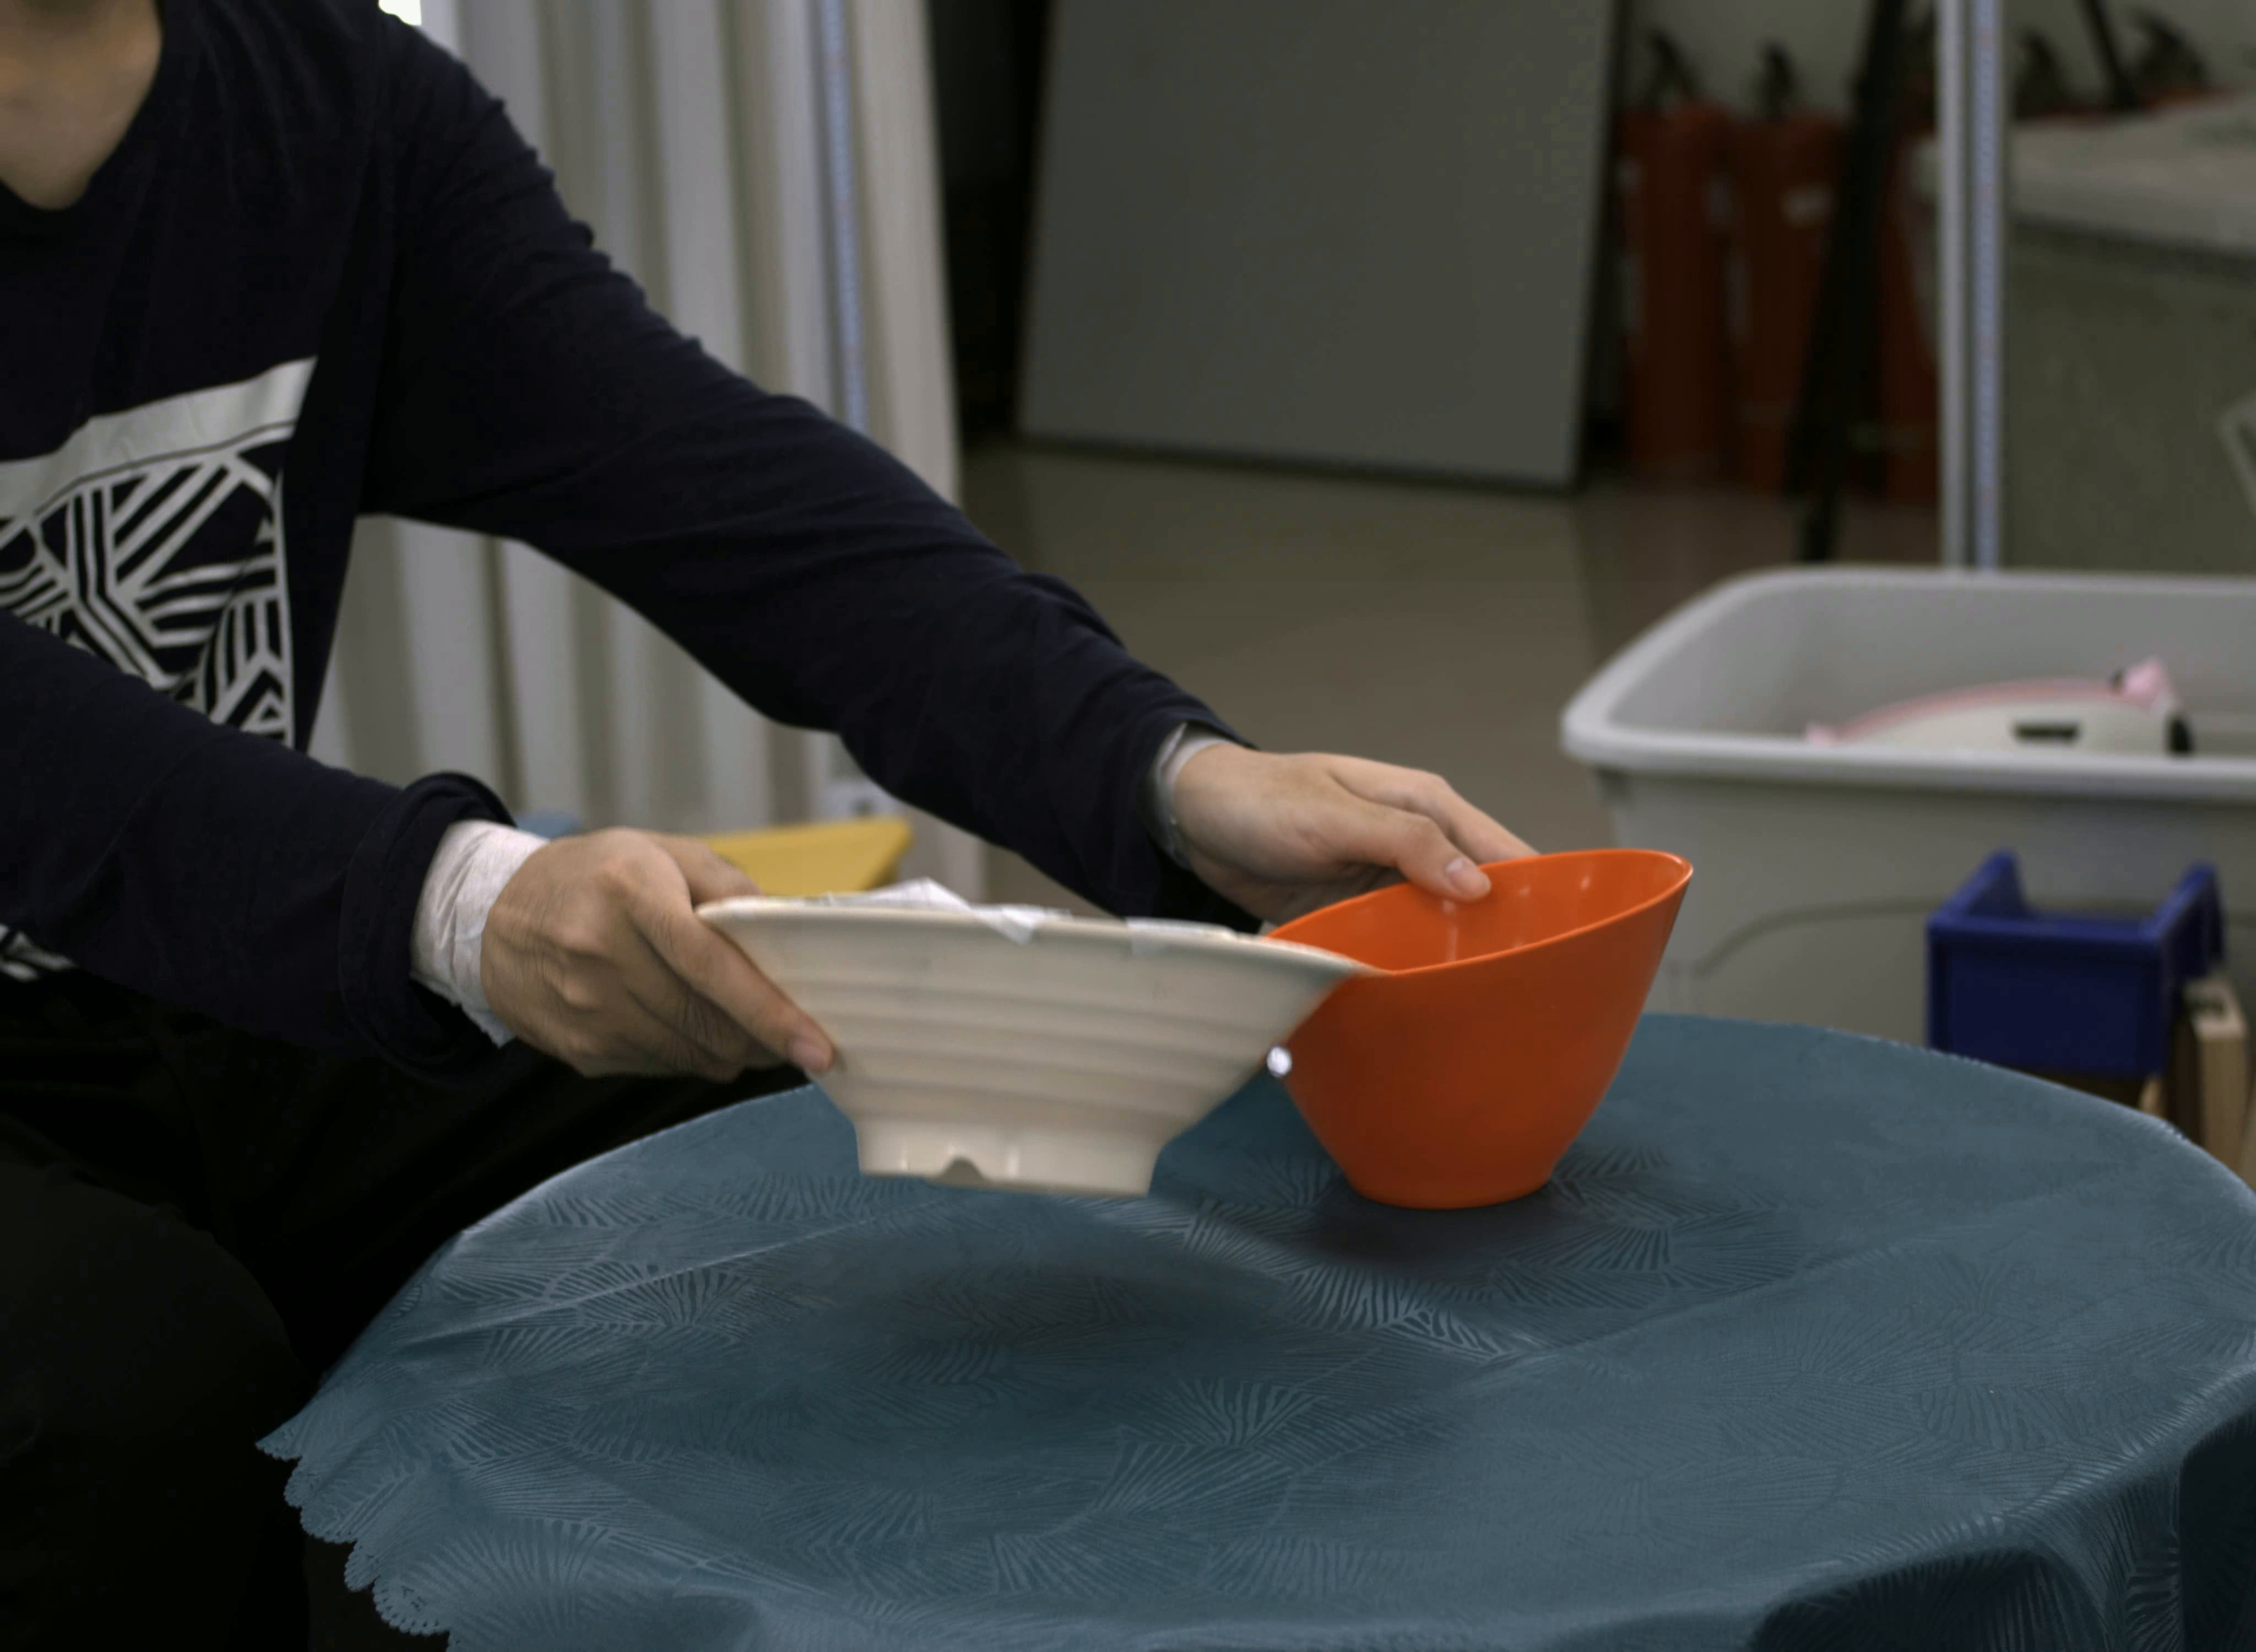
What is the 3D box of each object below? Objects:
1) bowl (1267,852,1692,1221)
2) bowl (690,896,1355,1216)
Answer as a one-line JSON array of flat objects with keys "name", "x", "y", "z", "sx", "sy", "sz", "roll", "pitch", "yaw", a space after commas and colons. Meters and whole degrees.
[{"name": "bowl", "x": 0.113, "y": 0.069, "z": 1.746, "sx": 0.146, "sy": 0.106, "sz": 0.148, "roll": -6, "pitch": 12, "yaw": 0}, {"name": "bowl", "x": -0.034, "y": 0.074, "z": 1.619, "sx": 0.201, "sy": 0.079, "sz": 0.204, "roll": 5, "pitch": -8, "yaw": 0}]
